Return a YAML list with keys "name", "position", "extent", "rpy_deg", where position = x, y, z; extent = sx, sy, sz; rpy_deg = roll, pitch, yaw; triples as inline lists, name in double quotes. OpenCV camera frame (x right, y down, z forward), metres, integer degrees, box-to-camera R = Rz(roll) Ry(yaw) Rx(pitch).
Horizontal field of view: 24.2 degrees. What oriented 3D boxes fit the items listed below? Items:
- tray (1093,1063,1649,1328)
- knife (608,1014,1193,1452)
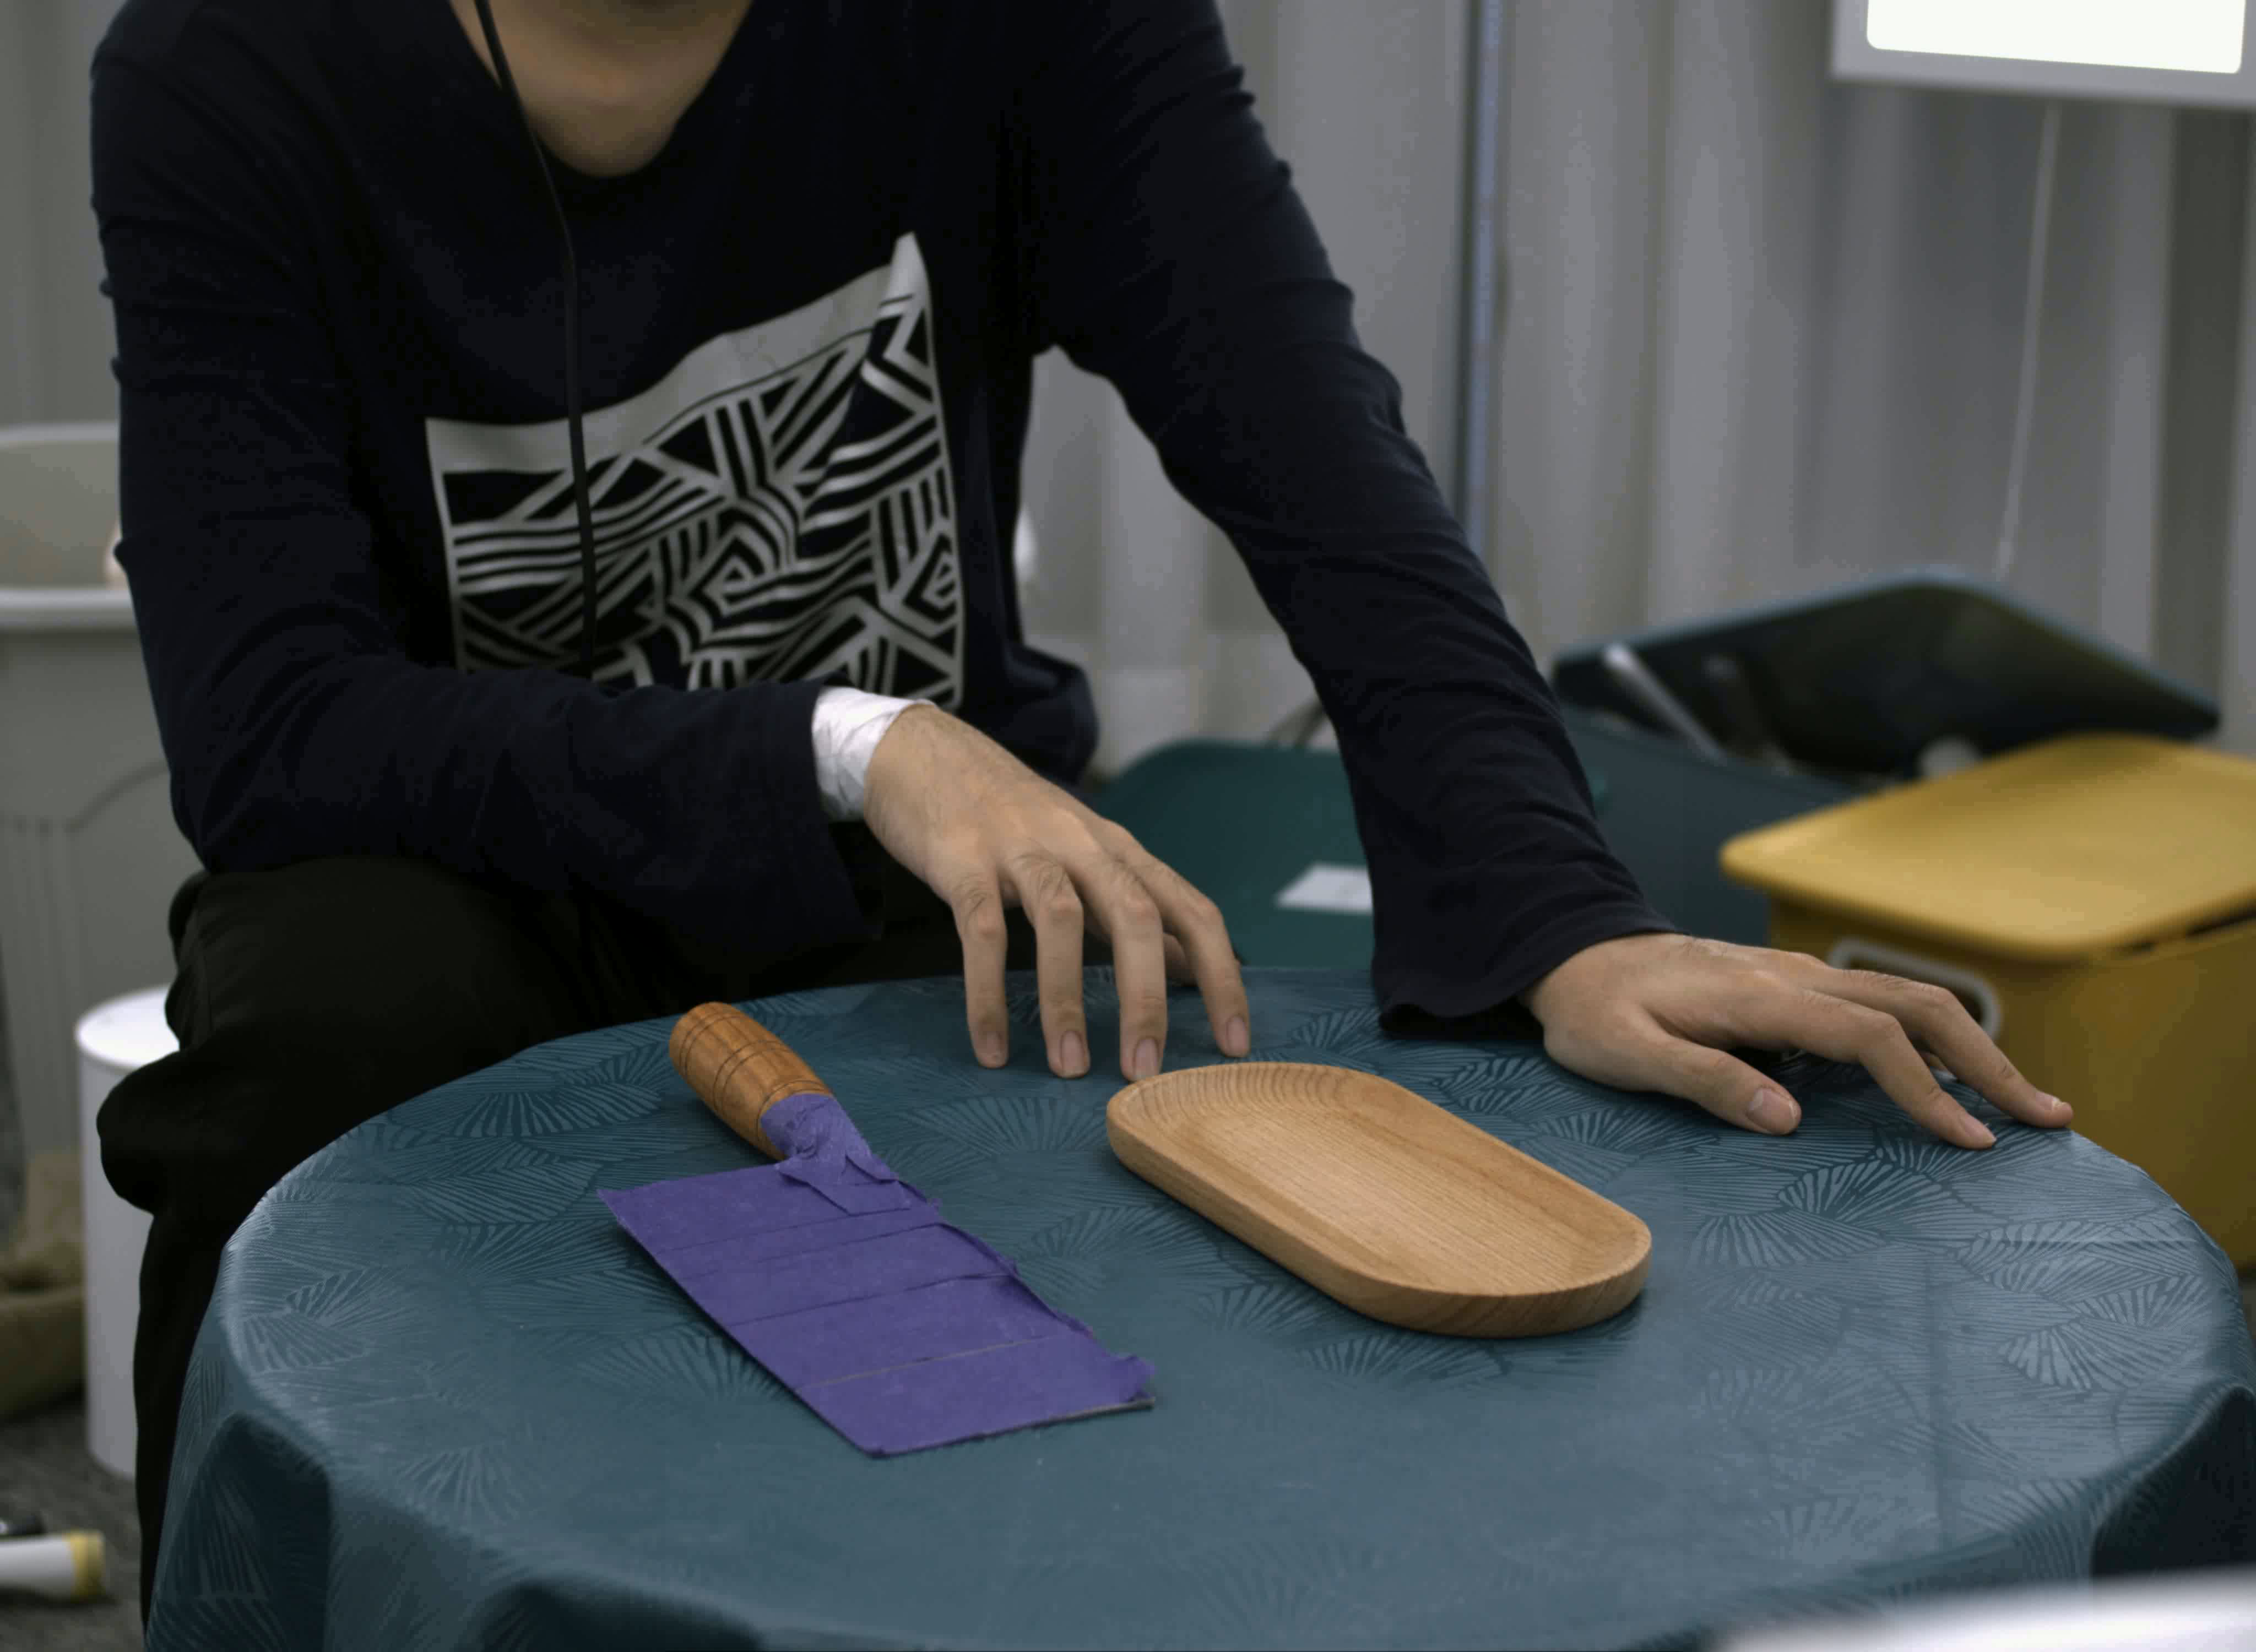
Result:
- name: "tray"
  position: [0.071, 0.110, 1.605]
  extent: [0.102, 0.020, 0.228]
  rpy_deg: [-7, 15, -28]
- name: "knife"
  position: [-0.096, 0.116, 1.558]
  extent: [0.104, 0.032, 0.311]
  rpy_deg: [-7, 18, -26]
